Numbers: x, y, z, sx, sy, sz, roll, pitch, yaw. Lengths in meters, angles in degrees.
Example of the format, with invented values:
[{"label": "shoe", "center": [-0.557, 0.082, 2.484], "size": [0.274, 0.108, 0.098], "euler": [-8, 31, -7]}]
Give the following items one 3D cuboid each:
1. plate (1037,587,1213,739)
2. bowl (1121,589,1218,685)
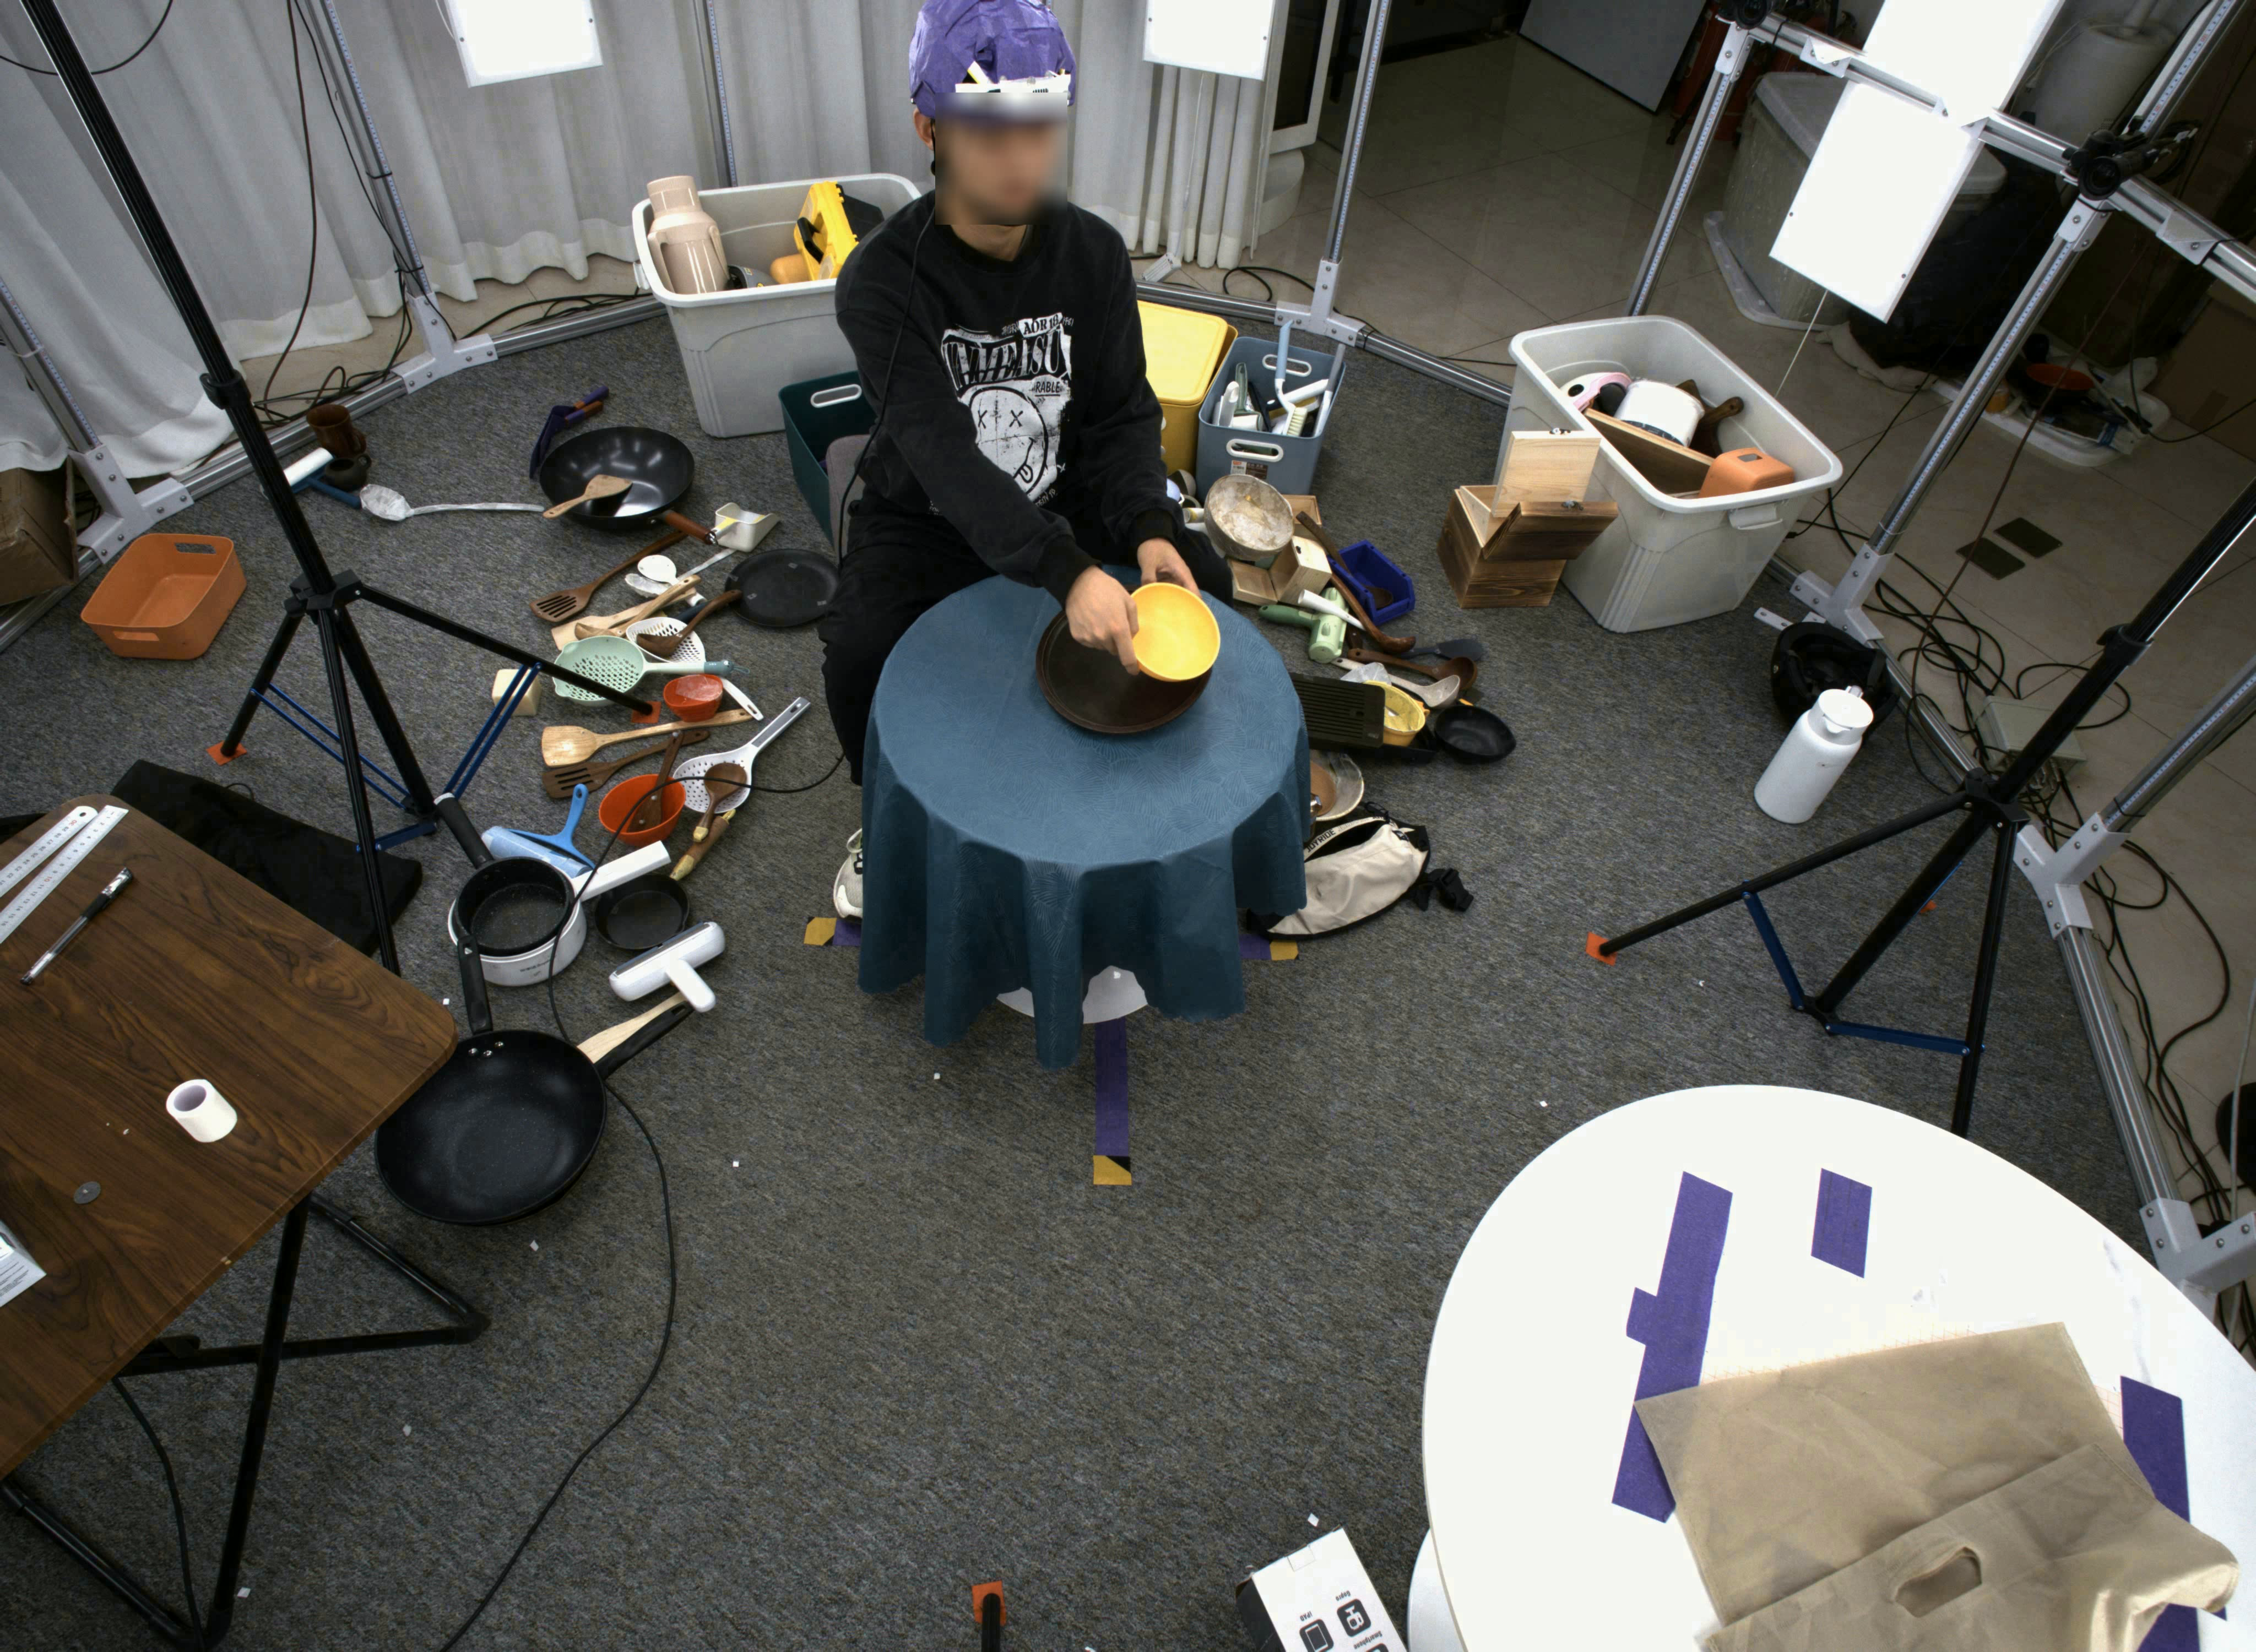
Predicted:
[{"label": "plate", "center": [-0.003, -0.234, 1.837], "size": [0.255, 0.028, 0.260], "euler": [-4, 61, 7]}, {"label": "bowl", "center": [0.048, -0.251, 1.773], "size": [0.144, 0.059, 0.148], "euler": [9, 63, -20]}]
